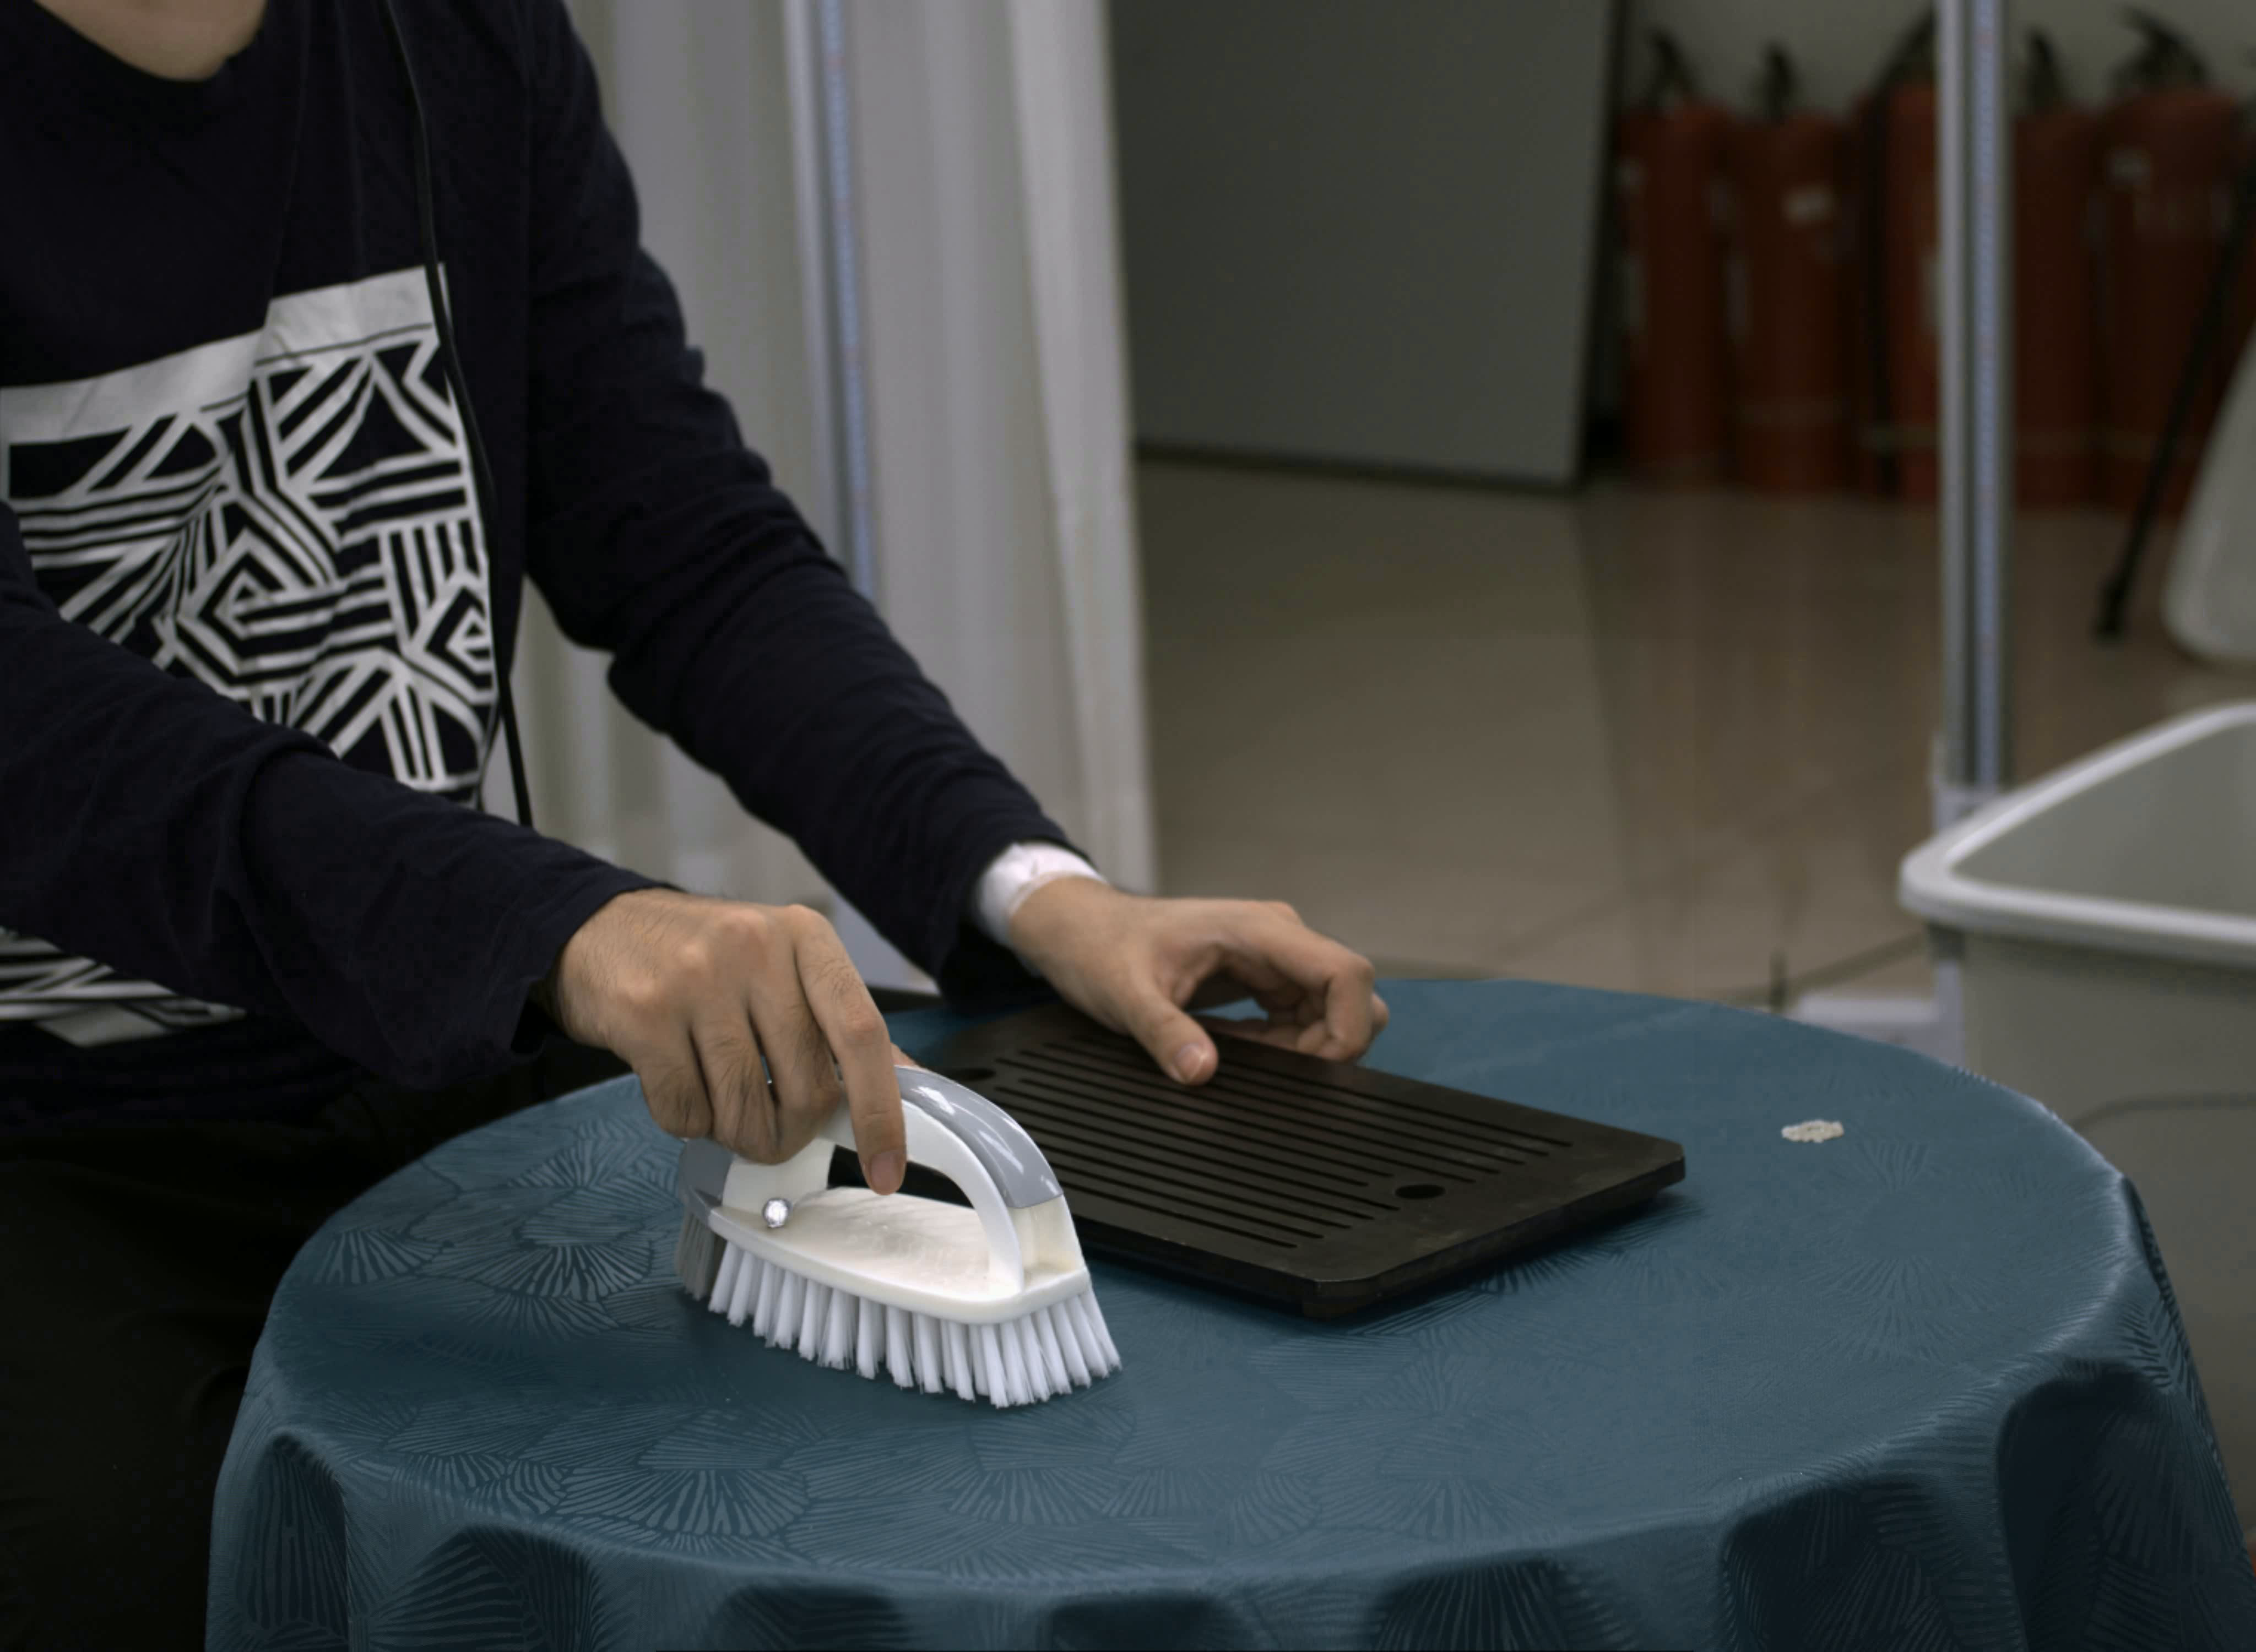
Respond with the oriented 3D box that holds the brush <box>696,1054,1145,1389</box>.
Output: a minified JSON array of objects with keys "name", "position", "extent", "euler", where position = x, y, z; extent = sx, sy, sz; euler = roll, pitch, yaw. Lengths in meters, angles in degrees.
[{"name":"brush","position":[-0.075,0.115,1.643],"extent":[0.177,0.095,0.060],"euler":[7,19,43]}]

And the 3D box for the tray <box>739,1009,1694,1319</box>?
[{"name":"tray","position":[0.025,0.109,1.784],"extent":[0.166,0.019,0.309],"euler":[-16,17,-40]}]
